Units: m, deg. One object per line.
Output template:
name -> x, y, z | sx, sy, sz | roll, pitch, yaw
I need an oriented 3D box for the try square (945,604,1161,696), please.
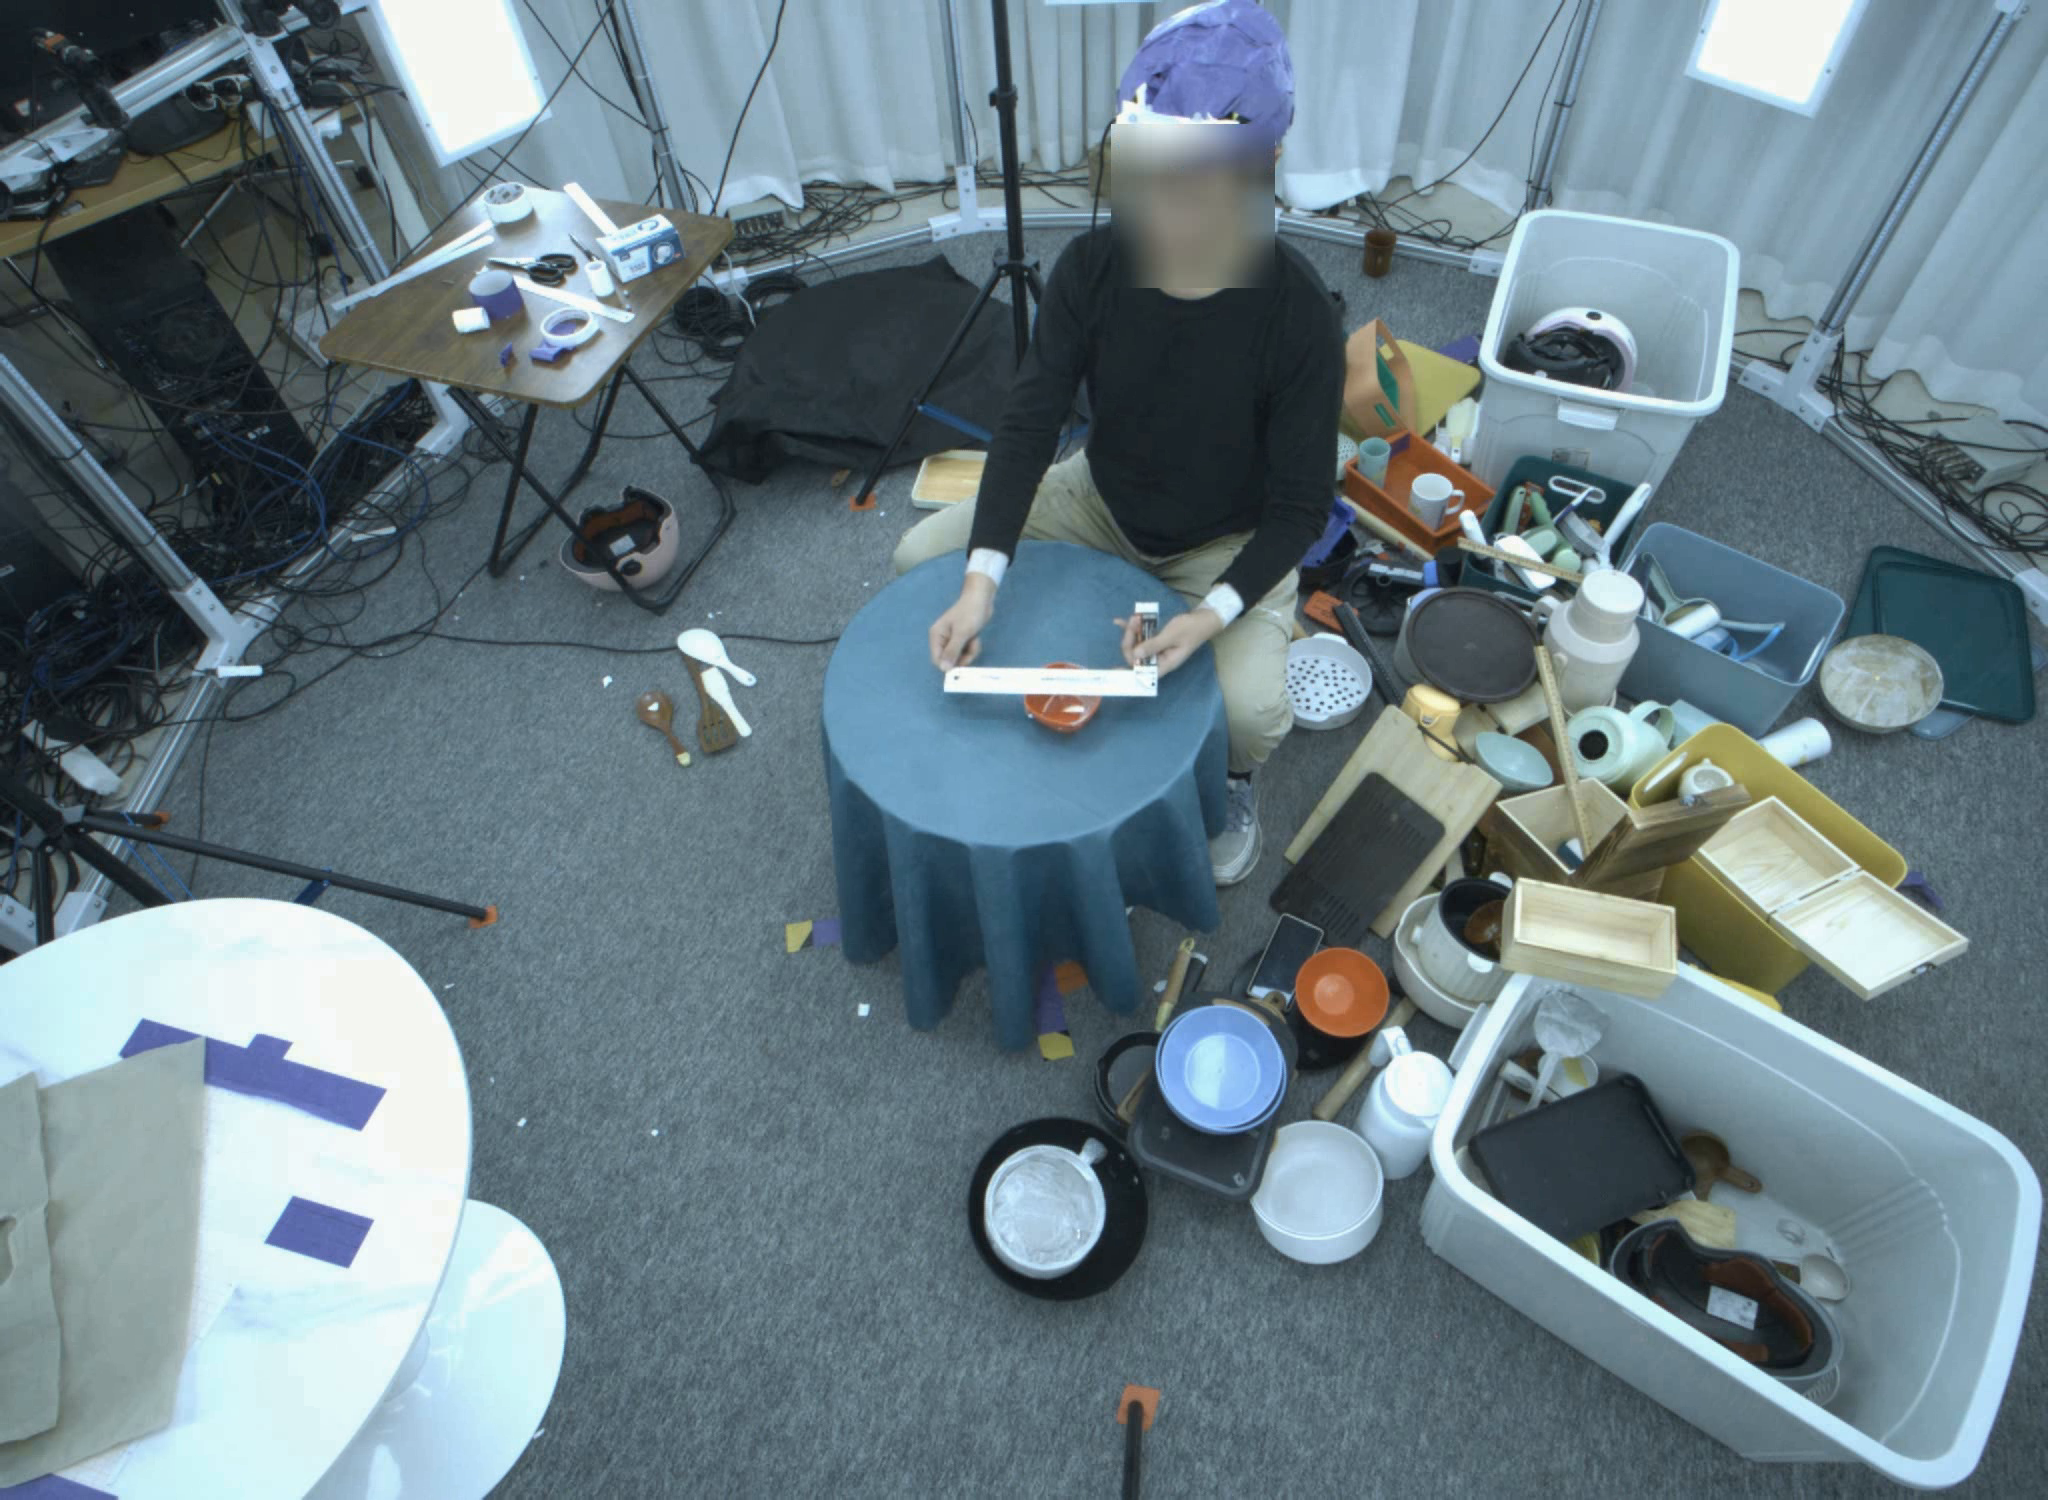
try square -> 0.044, -0.149, 1.811 | 0.312, 0.016, 0.151 | 1, 67, 3

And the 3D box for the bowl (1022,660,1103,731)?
bowl -> 0.058, -0.071, 1.802 | 0.118, 0.052, 0.118 | -2, 57, 5
